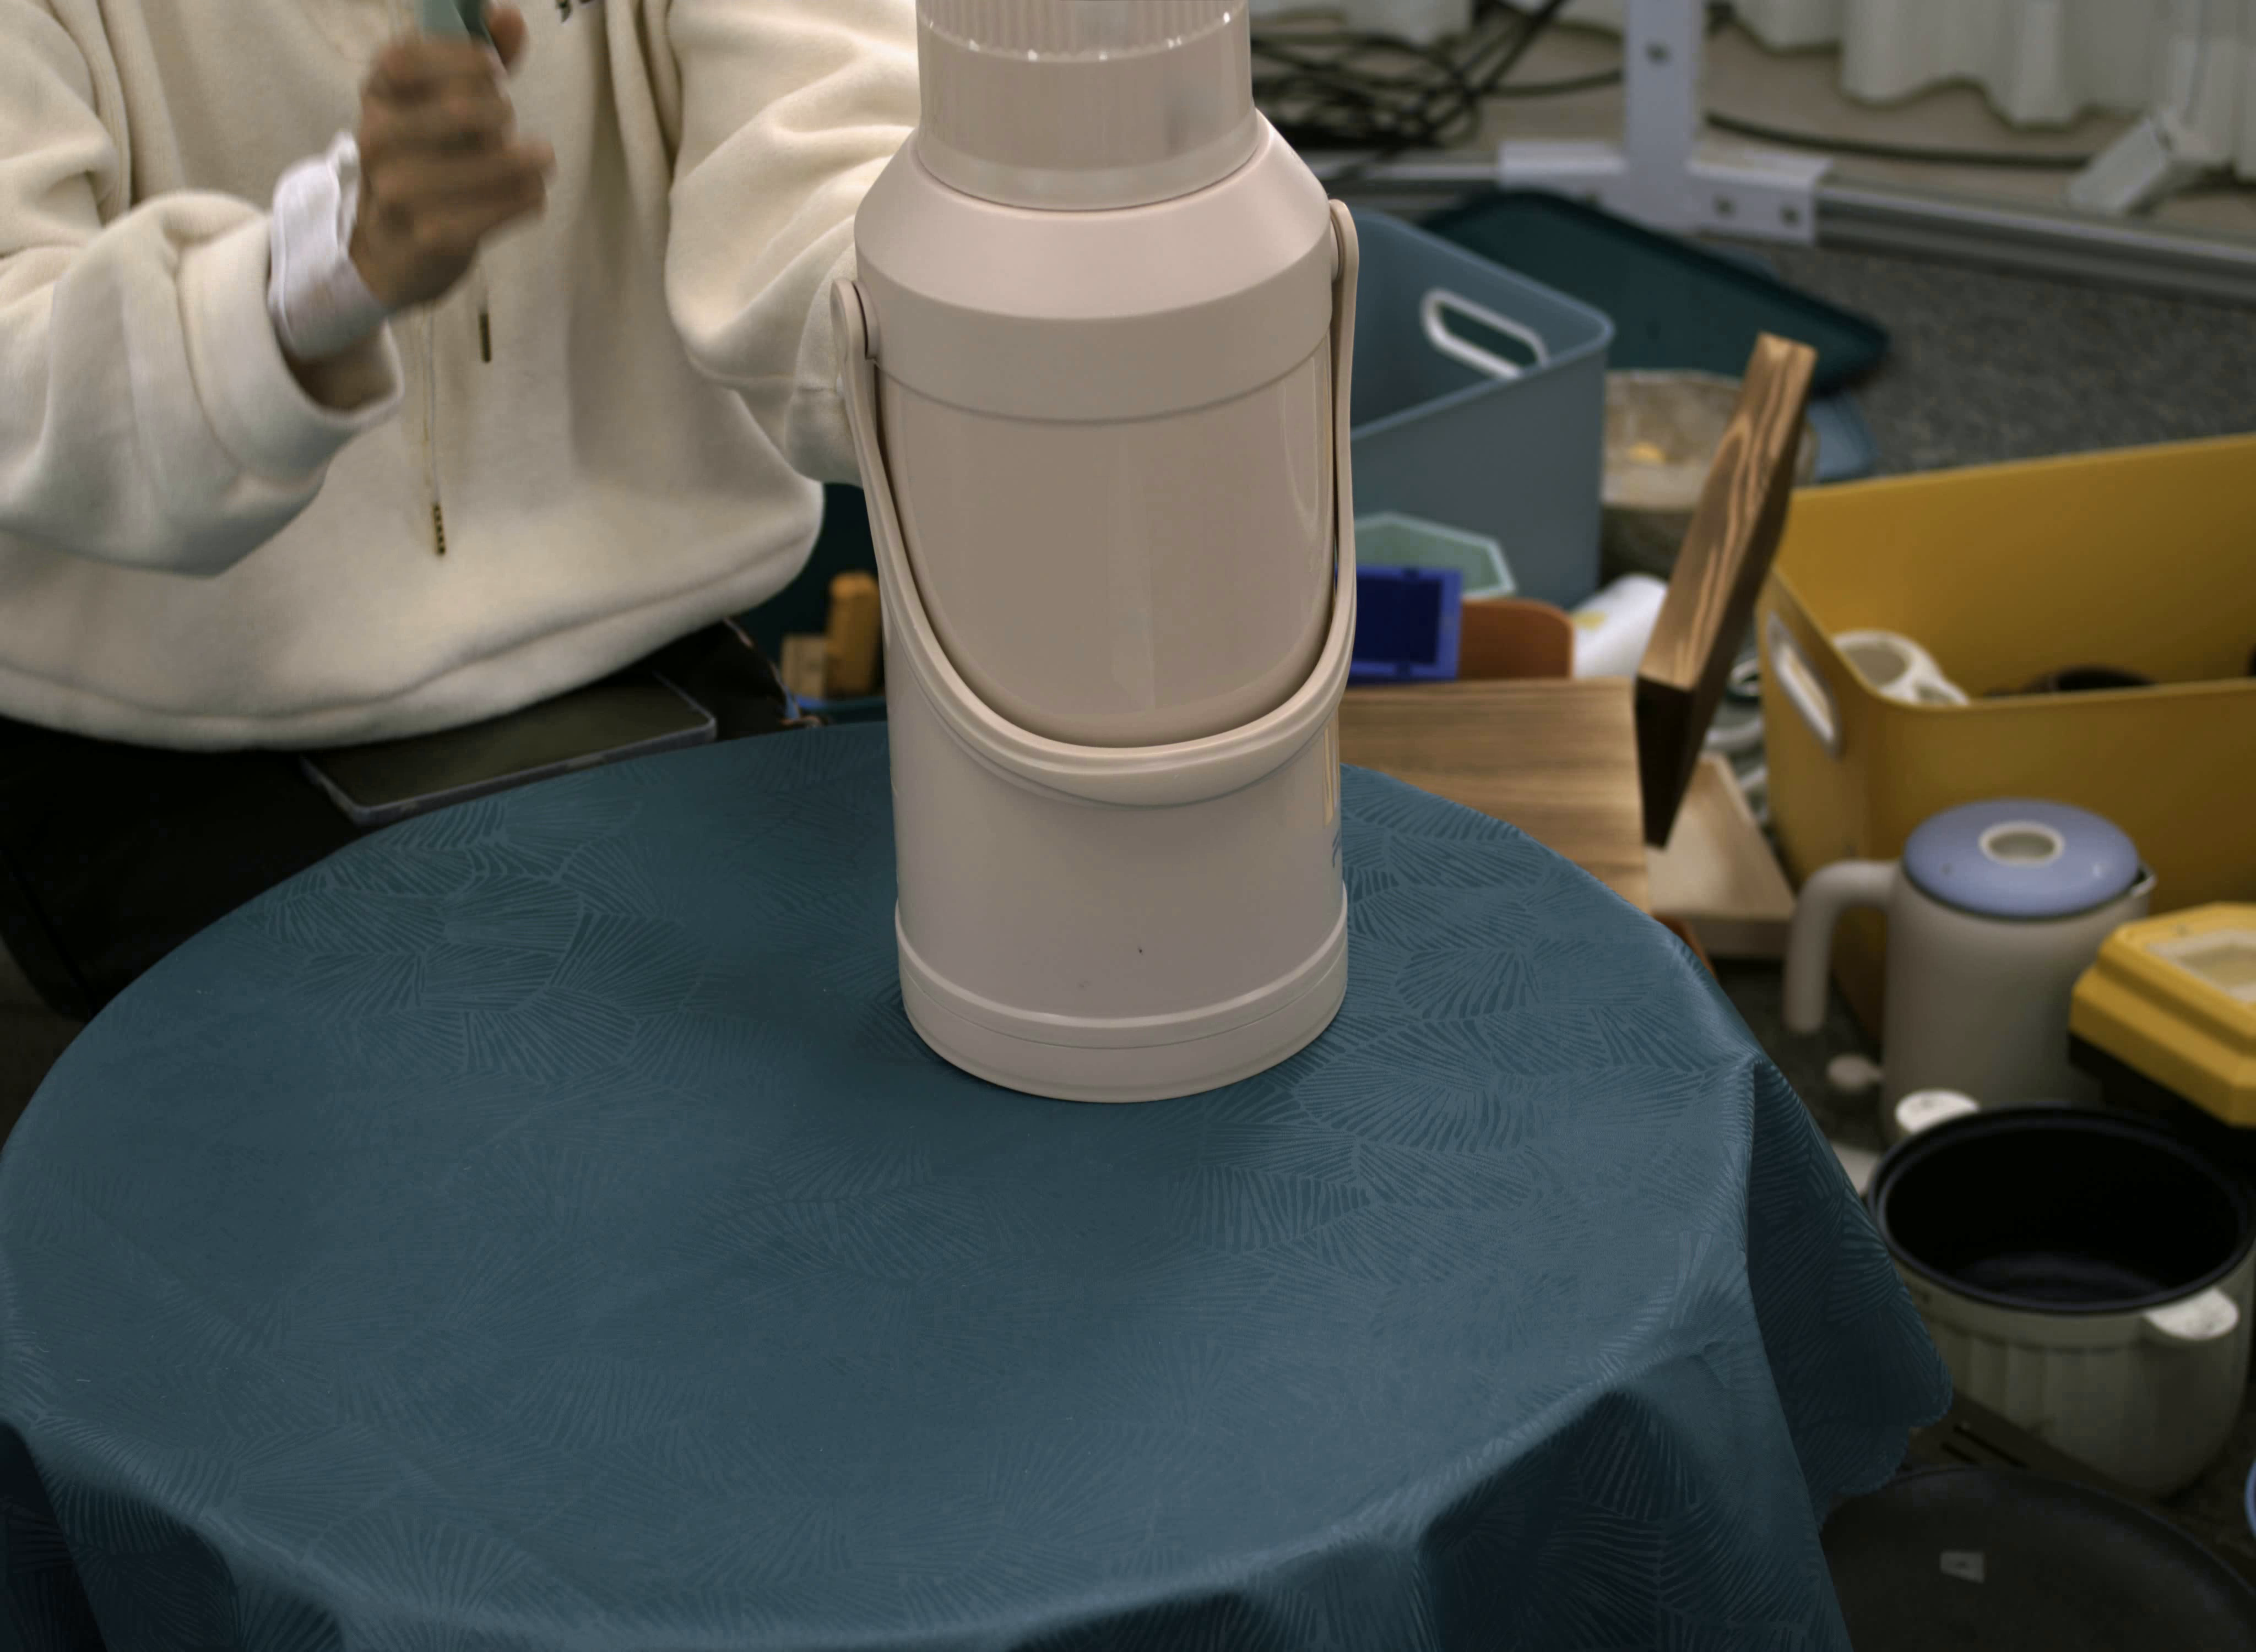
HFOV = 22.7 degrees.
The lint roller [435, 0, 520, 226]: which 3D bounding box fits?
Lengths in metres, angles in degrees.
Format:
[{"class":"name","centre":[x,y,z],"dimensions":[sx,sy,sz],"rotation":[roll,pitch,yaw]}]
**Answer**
[{"class":"lint roller","centre":[-0.201,-0.282,1.865],"dimensions":[0.048,0.194,0.119],"rotation":[25,41,-3]}]

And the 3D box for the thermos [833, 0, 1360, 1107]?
[{"class":"thermos","centre":[-0.011,-0.122,1.900],"dimensions":[0.175,0.402,0.209],"rotation":[-10,29,-14]}]
